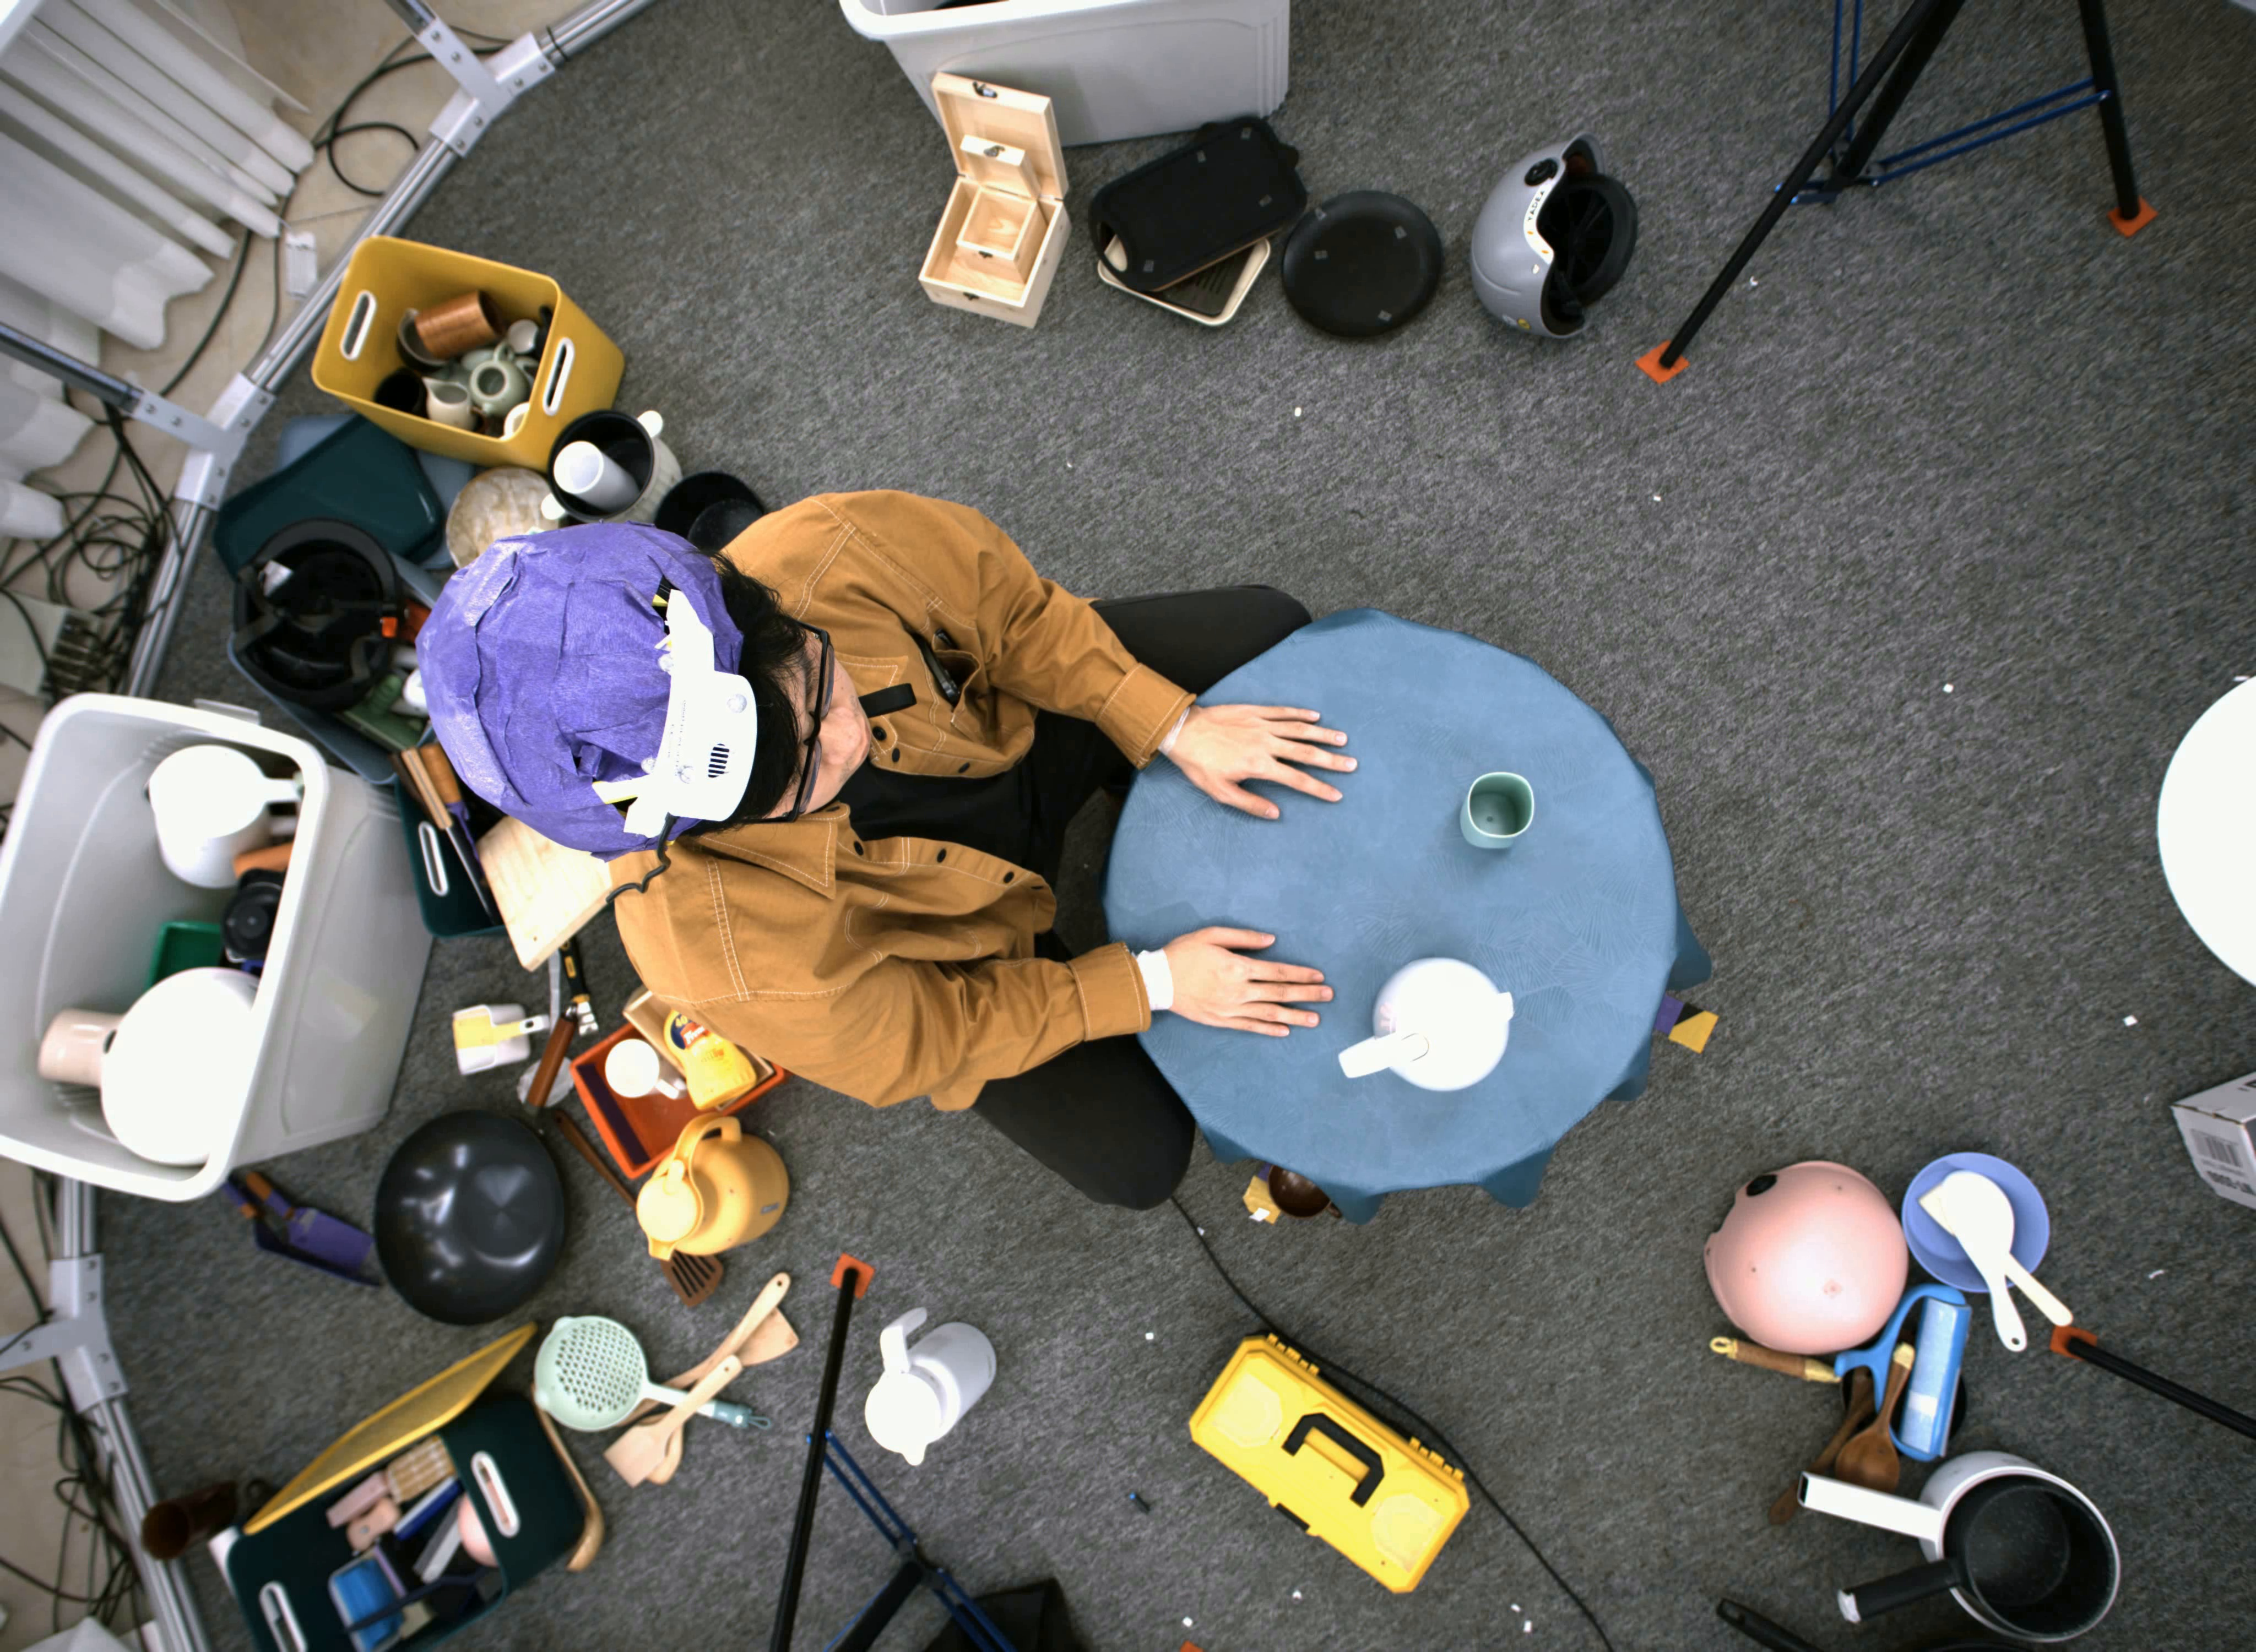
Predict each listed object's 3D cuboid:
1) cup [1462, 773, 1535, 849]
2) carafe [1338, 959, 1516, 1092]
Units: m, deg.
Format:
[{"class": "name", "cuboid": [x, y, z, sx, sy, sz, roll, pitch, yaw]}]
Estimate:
[{"class": "cup", "cuboid": [0.370, -0.016, 1.383, 0.067, 0.132, 0.066, -1, 84, 10]}, {"class": "carafe", "cuboid": [0.284, 0.199, 1.327, 0.169, 0.249, 0.131, -24, 81, 8]}]
